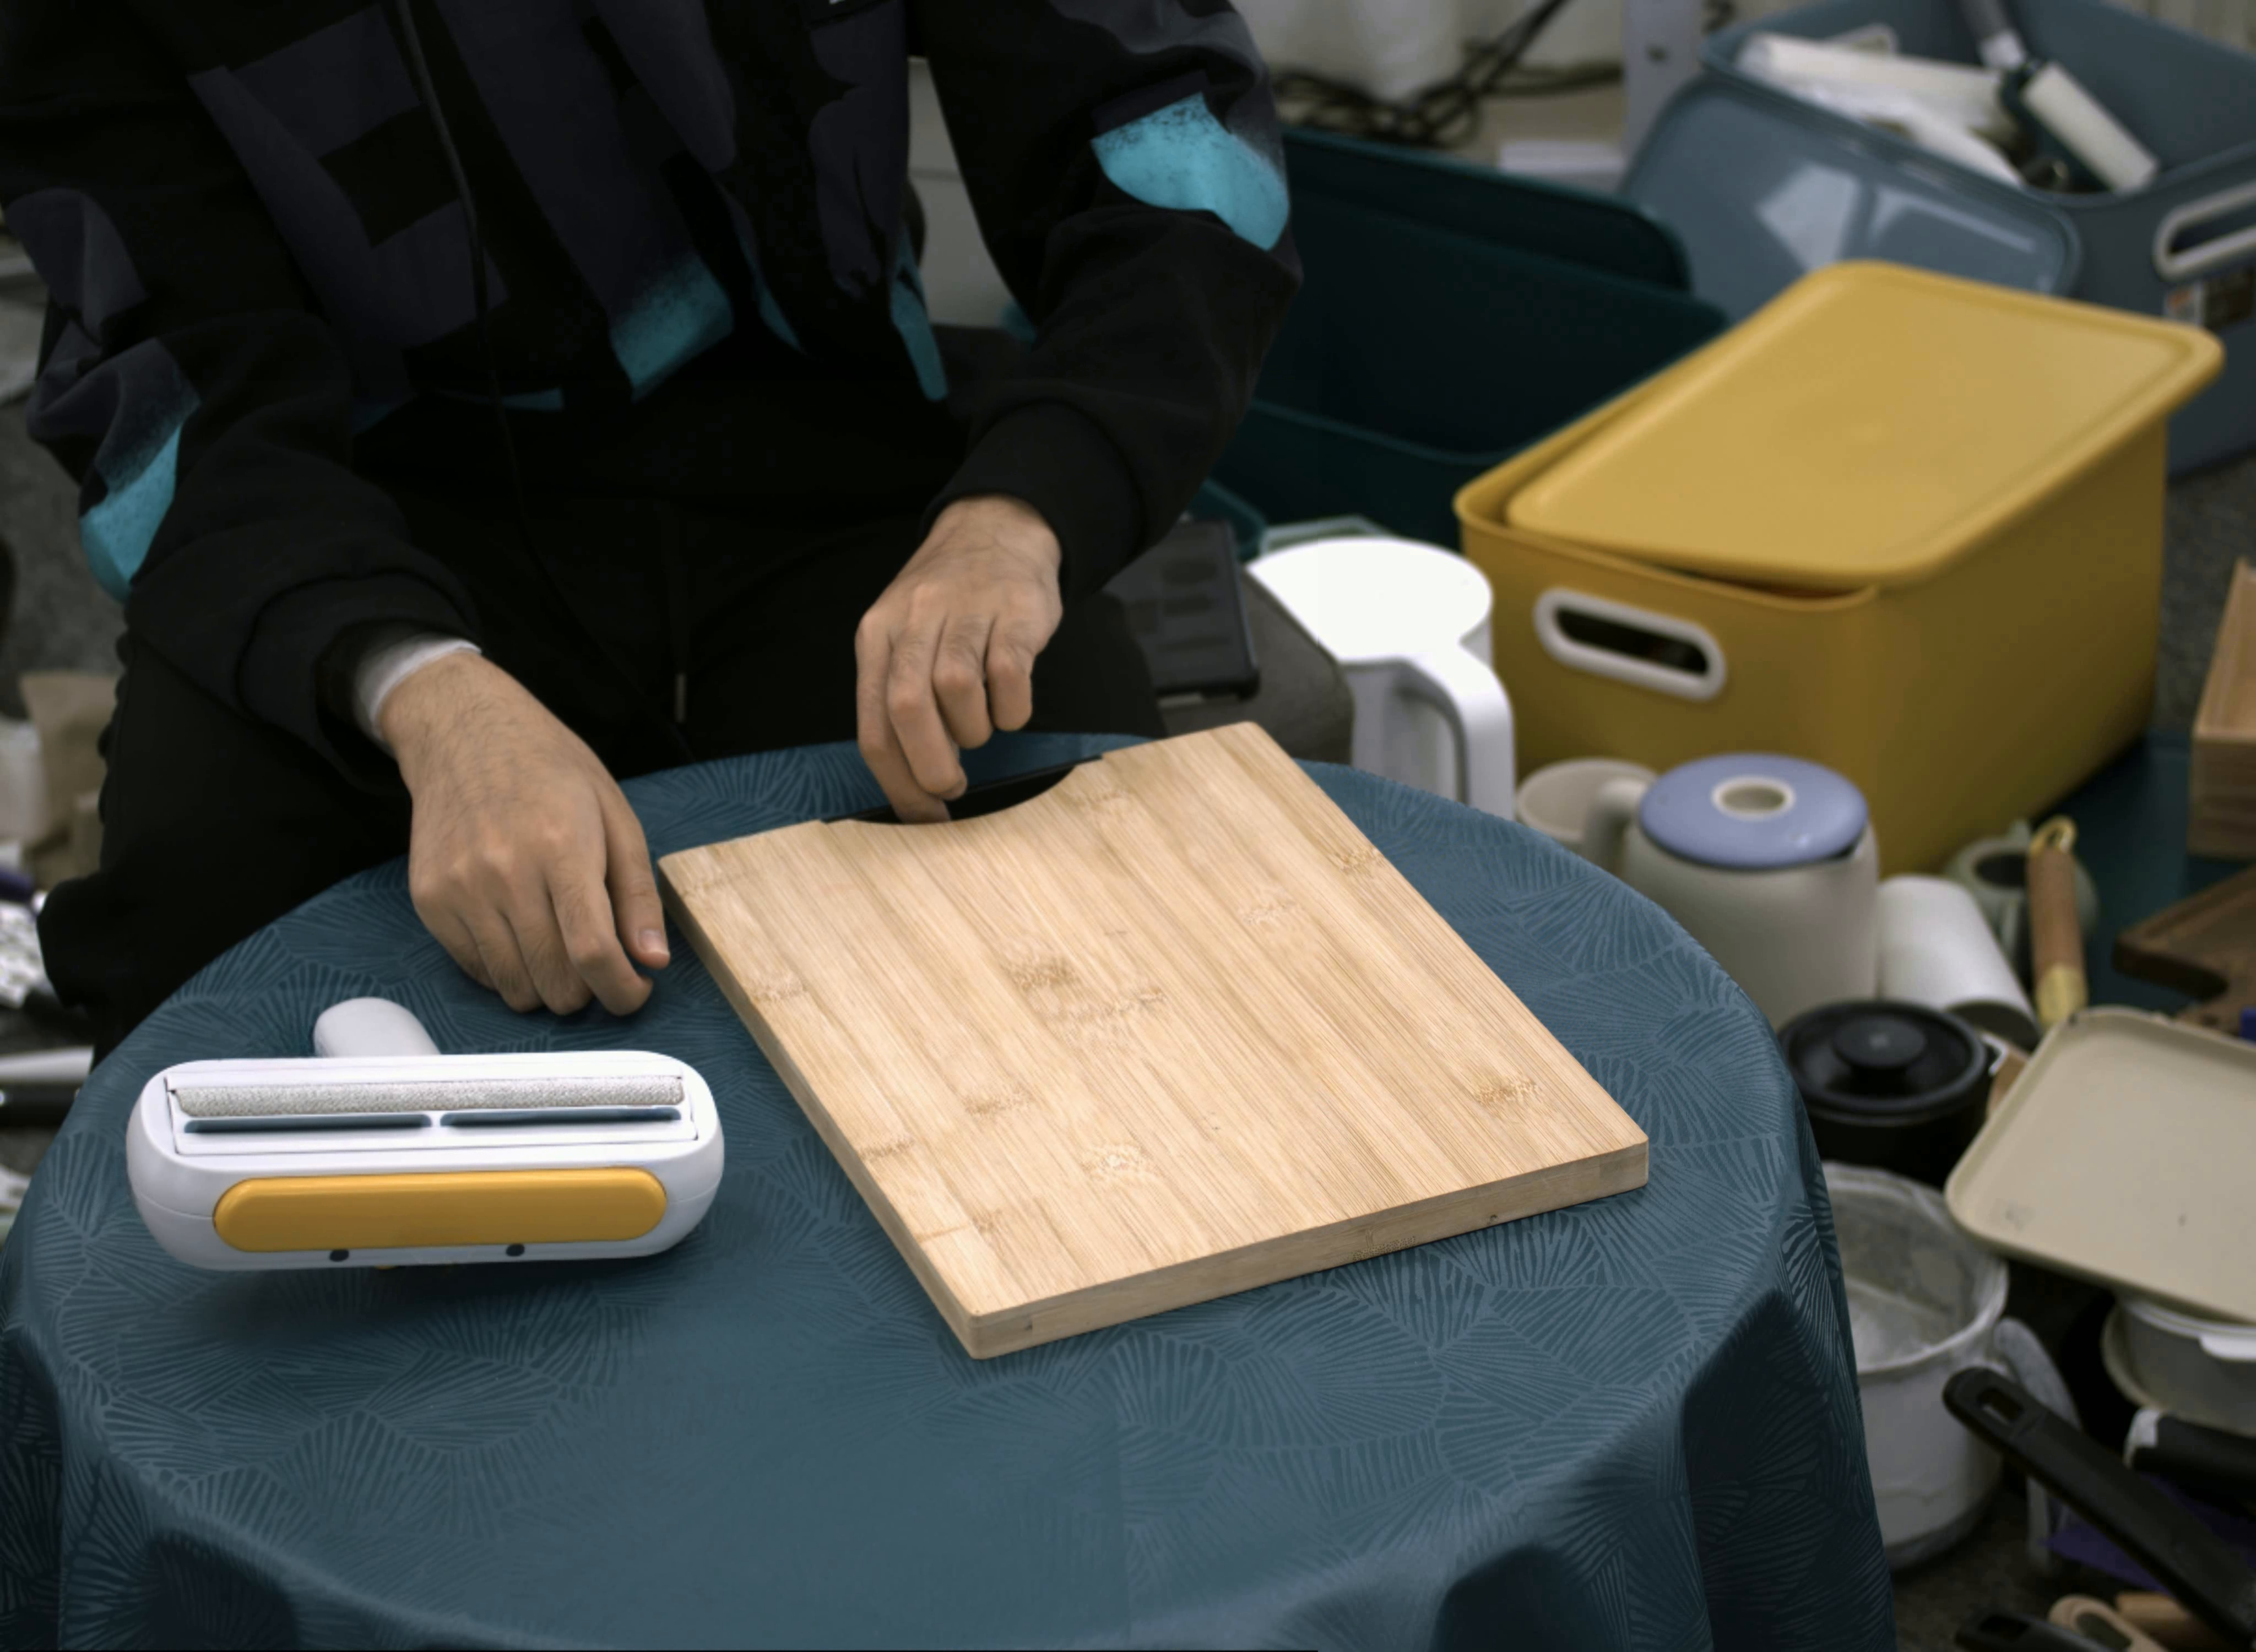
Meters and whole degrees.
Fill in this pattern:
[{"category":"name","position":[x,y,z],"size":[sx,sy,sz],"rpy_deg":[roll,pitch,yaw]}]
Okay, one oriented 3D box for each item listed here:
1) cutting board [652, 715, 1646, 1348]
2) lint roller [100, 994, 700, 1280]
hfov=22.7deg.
[{"category":"cutting board","position":[-0.002,0.064,1.954],"size":[0.251,0.023,0.351],"rpy_deg":[-13,29,-18]},{"category":"lint roller","position":[-0.246,0.091,1.872],"size":[0.192,0.073,0.194],"rpy_deg":[-3,25,-11]}]
